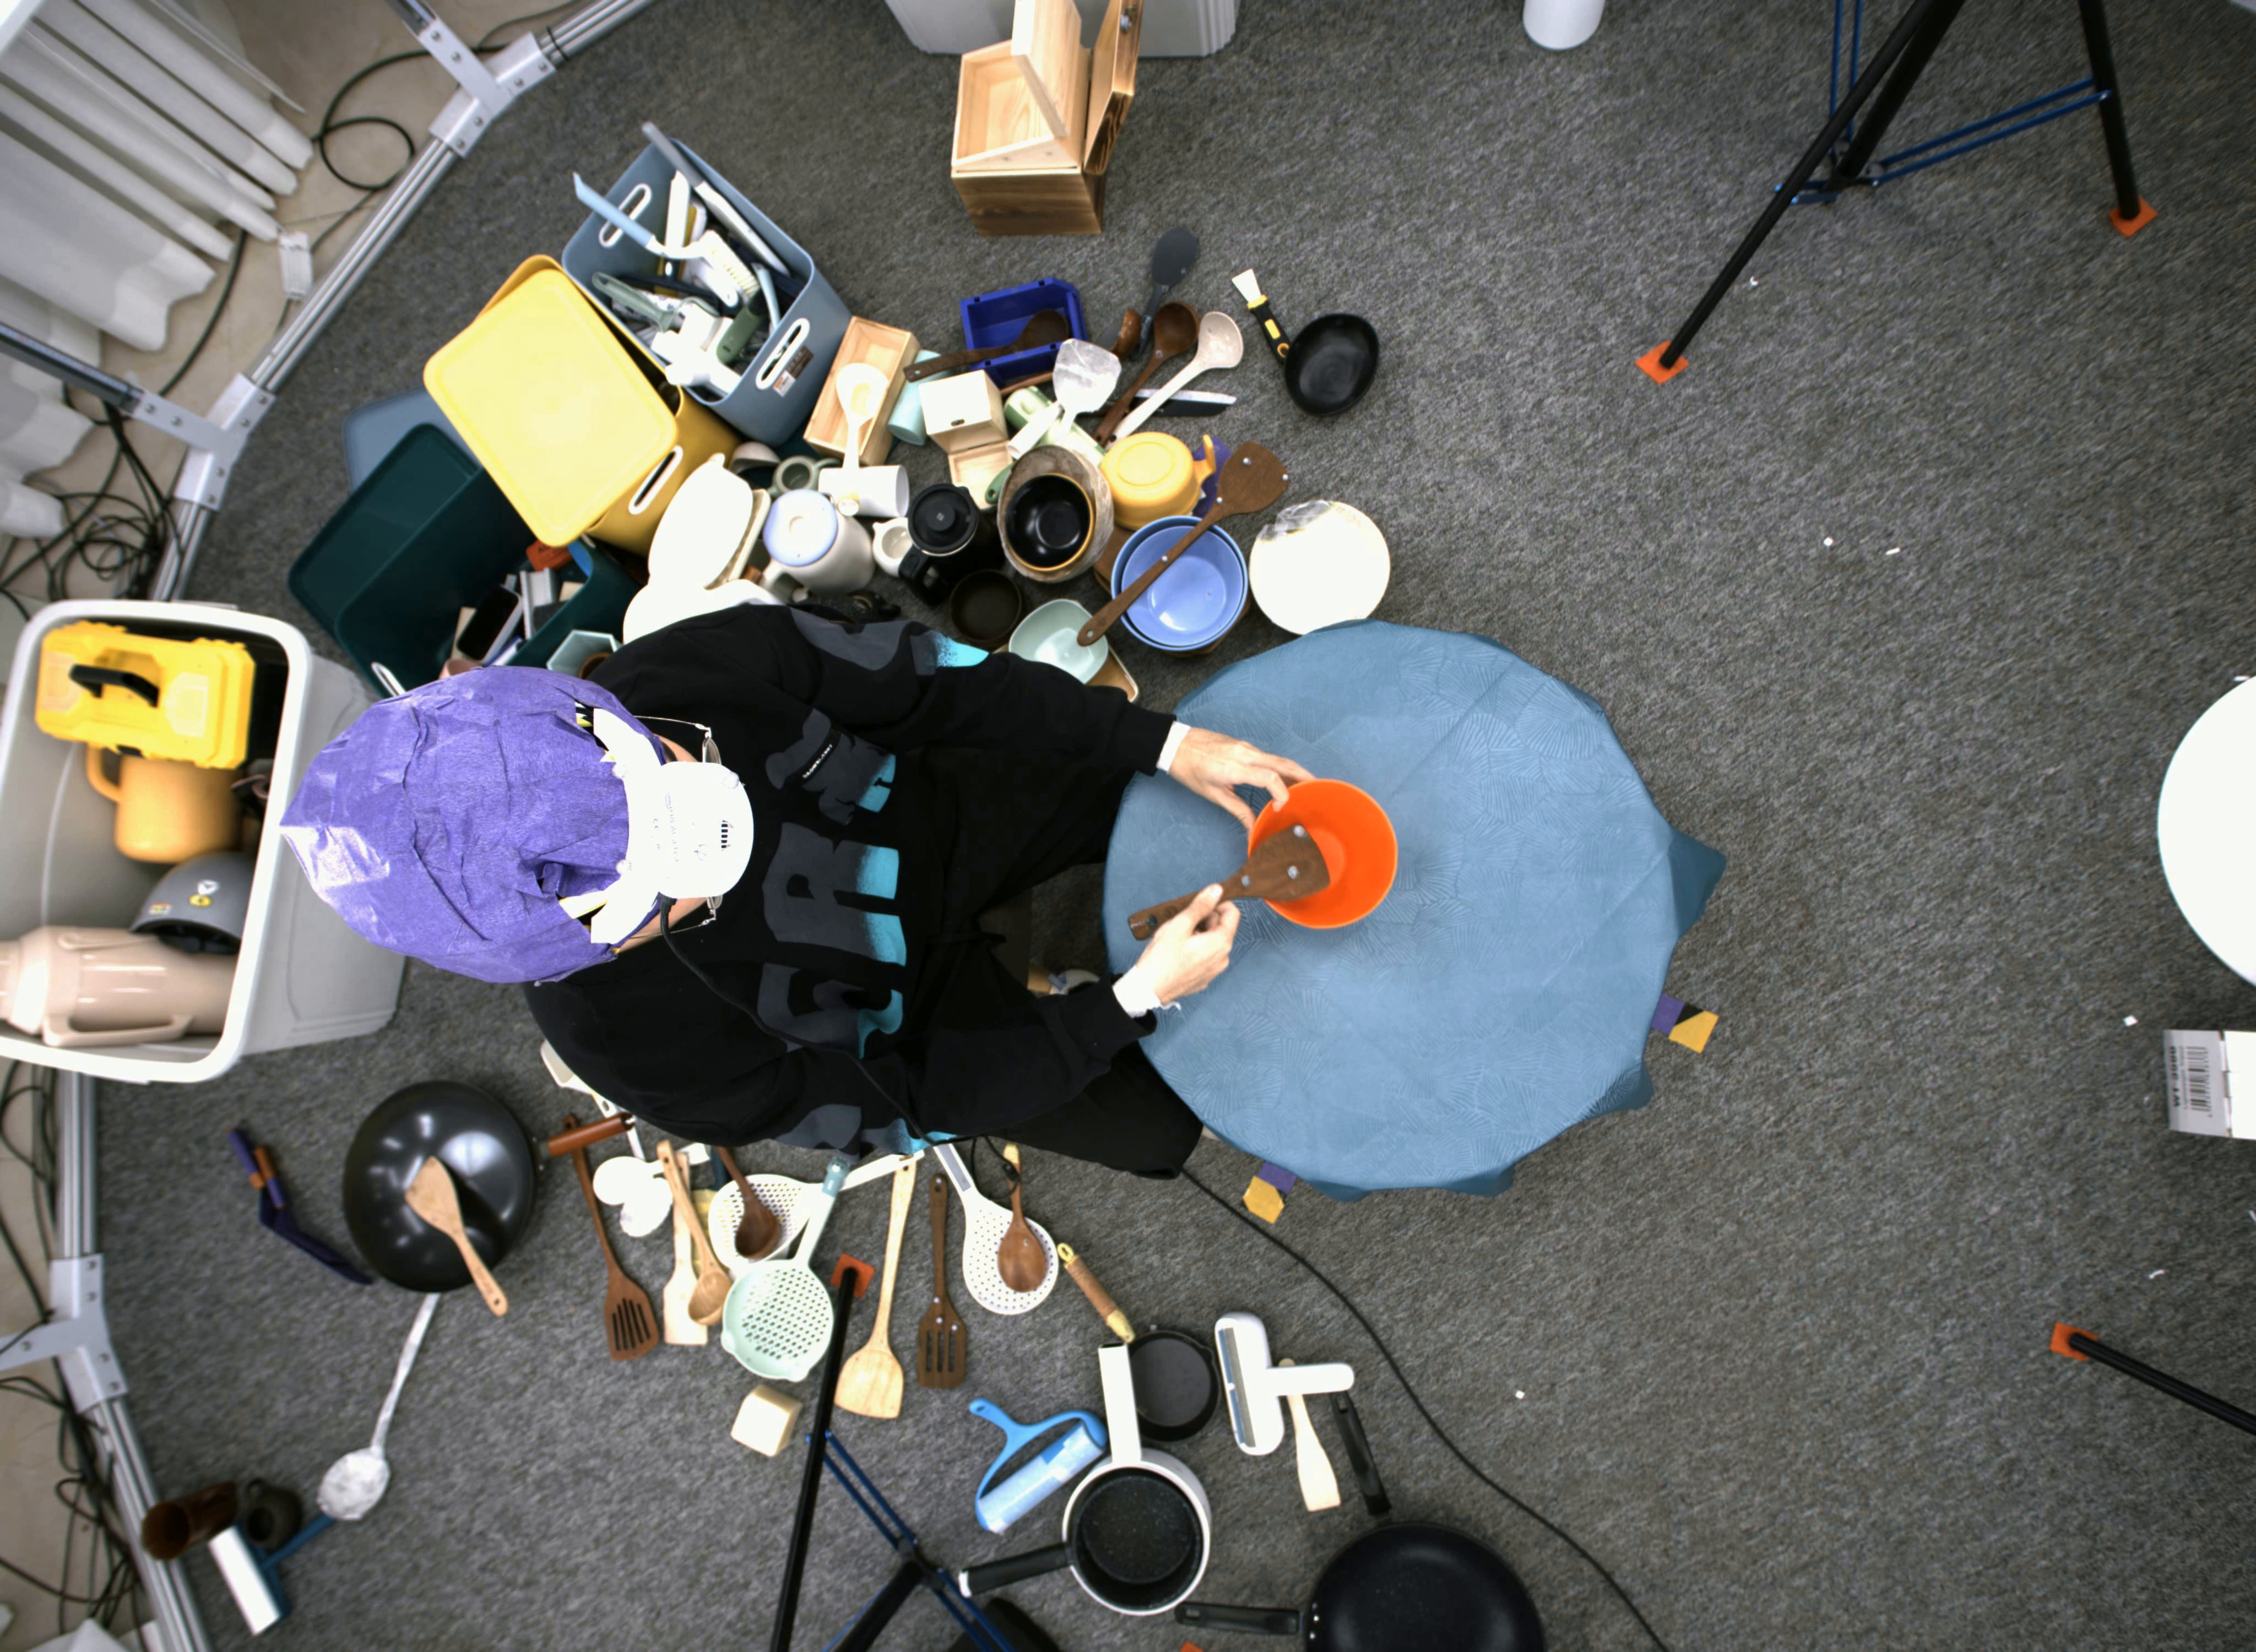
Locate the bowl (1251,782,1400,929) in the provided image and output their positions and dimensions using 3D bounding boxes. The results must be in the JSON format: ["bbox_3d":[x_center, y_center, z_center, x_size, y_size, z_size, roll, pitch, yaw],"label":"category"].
[{"bbox_3d":[0.202,0.030,1.413,0.148,0.104,0.148,0,91,9],"label":"bowl"}]

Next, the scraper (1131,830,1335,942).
[{"bbox_3d":[0.102,0.068,1.378,0.210,0.011,0.075,-20,80,-12],"label":"scraper"}]
